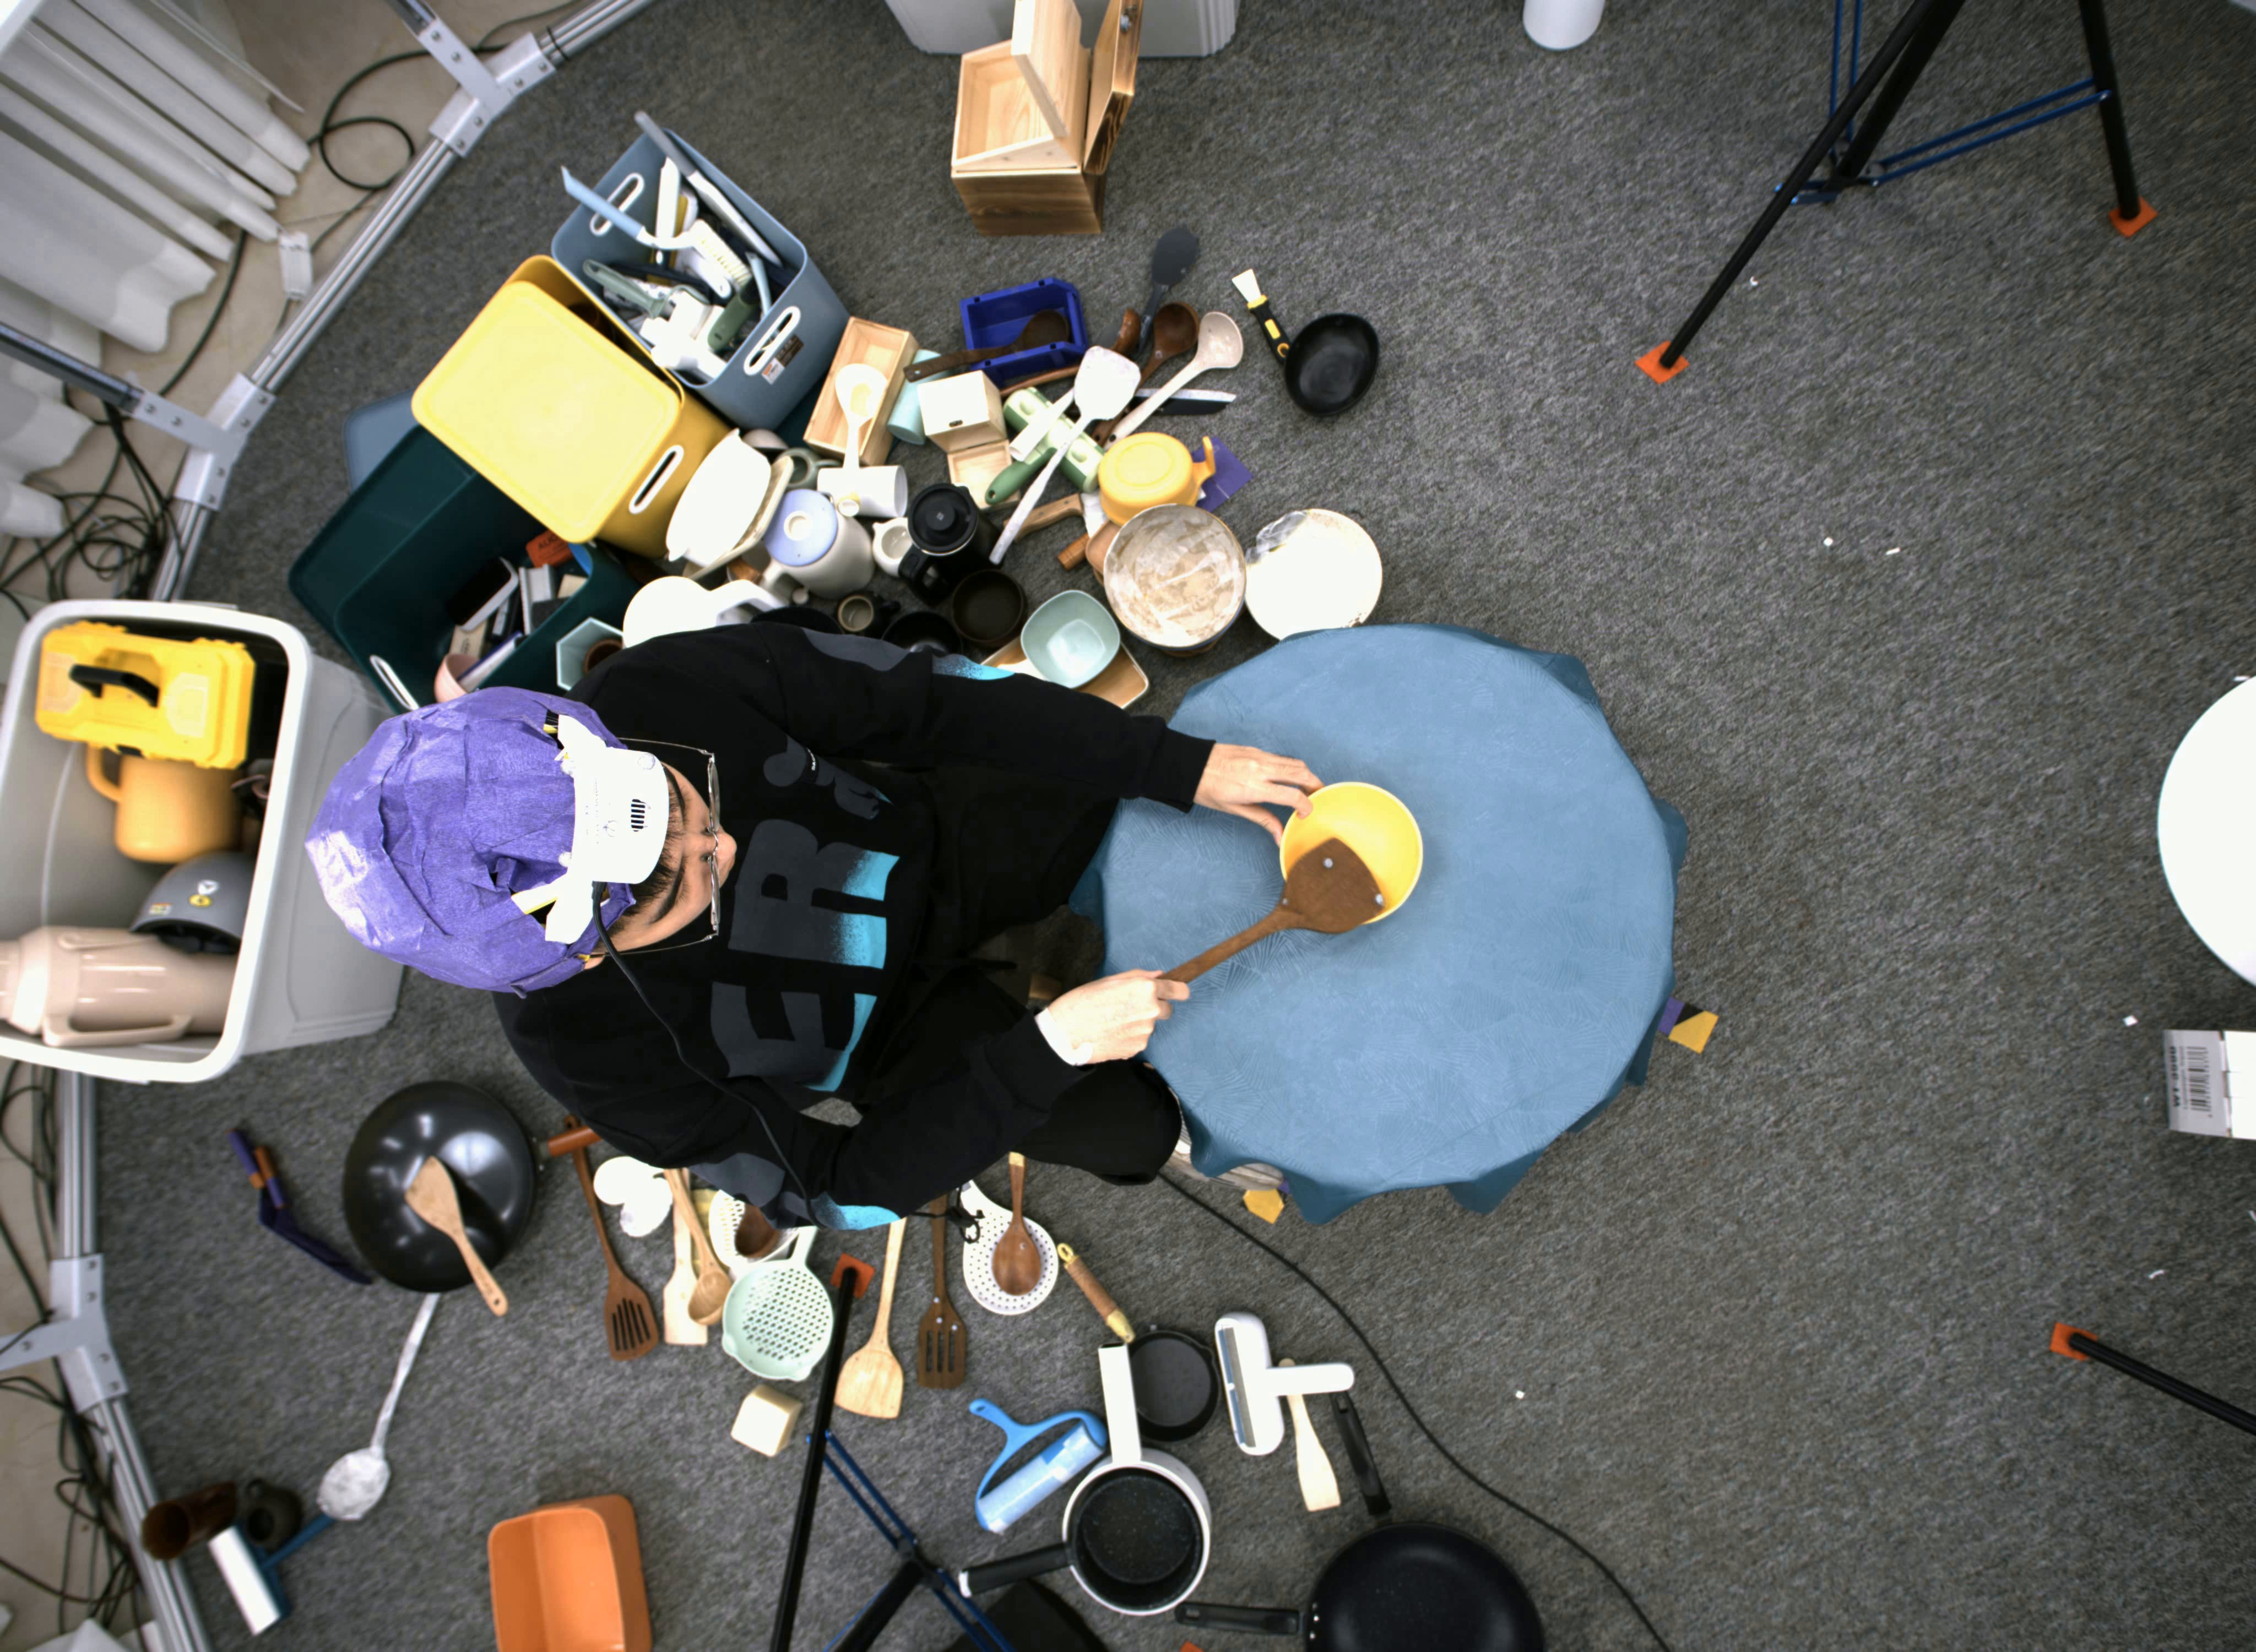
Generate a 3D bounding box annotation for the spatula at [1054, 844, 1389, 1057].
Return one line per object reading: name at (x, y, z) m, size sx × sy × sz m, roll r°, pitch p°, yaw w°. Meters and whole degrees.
spatula at (0.093, 0.127, 1.345) m, size 0.381 × 0.016 × 0.095 m, roll -26°, pitch 74°, yaw -23°

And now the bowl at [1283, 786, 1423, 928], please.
bowl at (0.230, 0.032, 1.430) m, size 0.145 × 0.060 × 0.145 m, roll 0°, pitch 90°, yaw 2°
